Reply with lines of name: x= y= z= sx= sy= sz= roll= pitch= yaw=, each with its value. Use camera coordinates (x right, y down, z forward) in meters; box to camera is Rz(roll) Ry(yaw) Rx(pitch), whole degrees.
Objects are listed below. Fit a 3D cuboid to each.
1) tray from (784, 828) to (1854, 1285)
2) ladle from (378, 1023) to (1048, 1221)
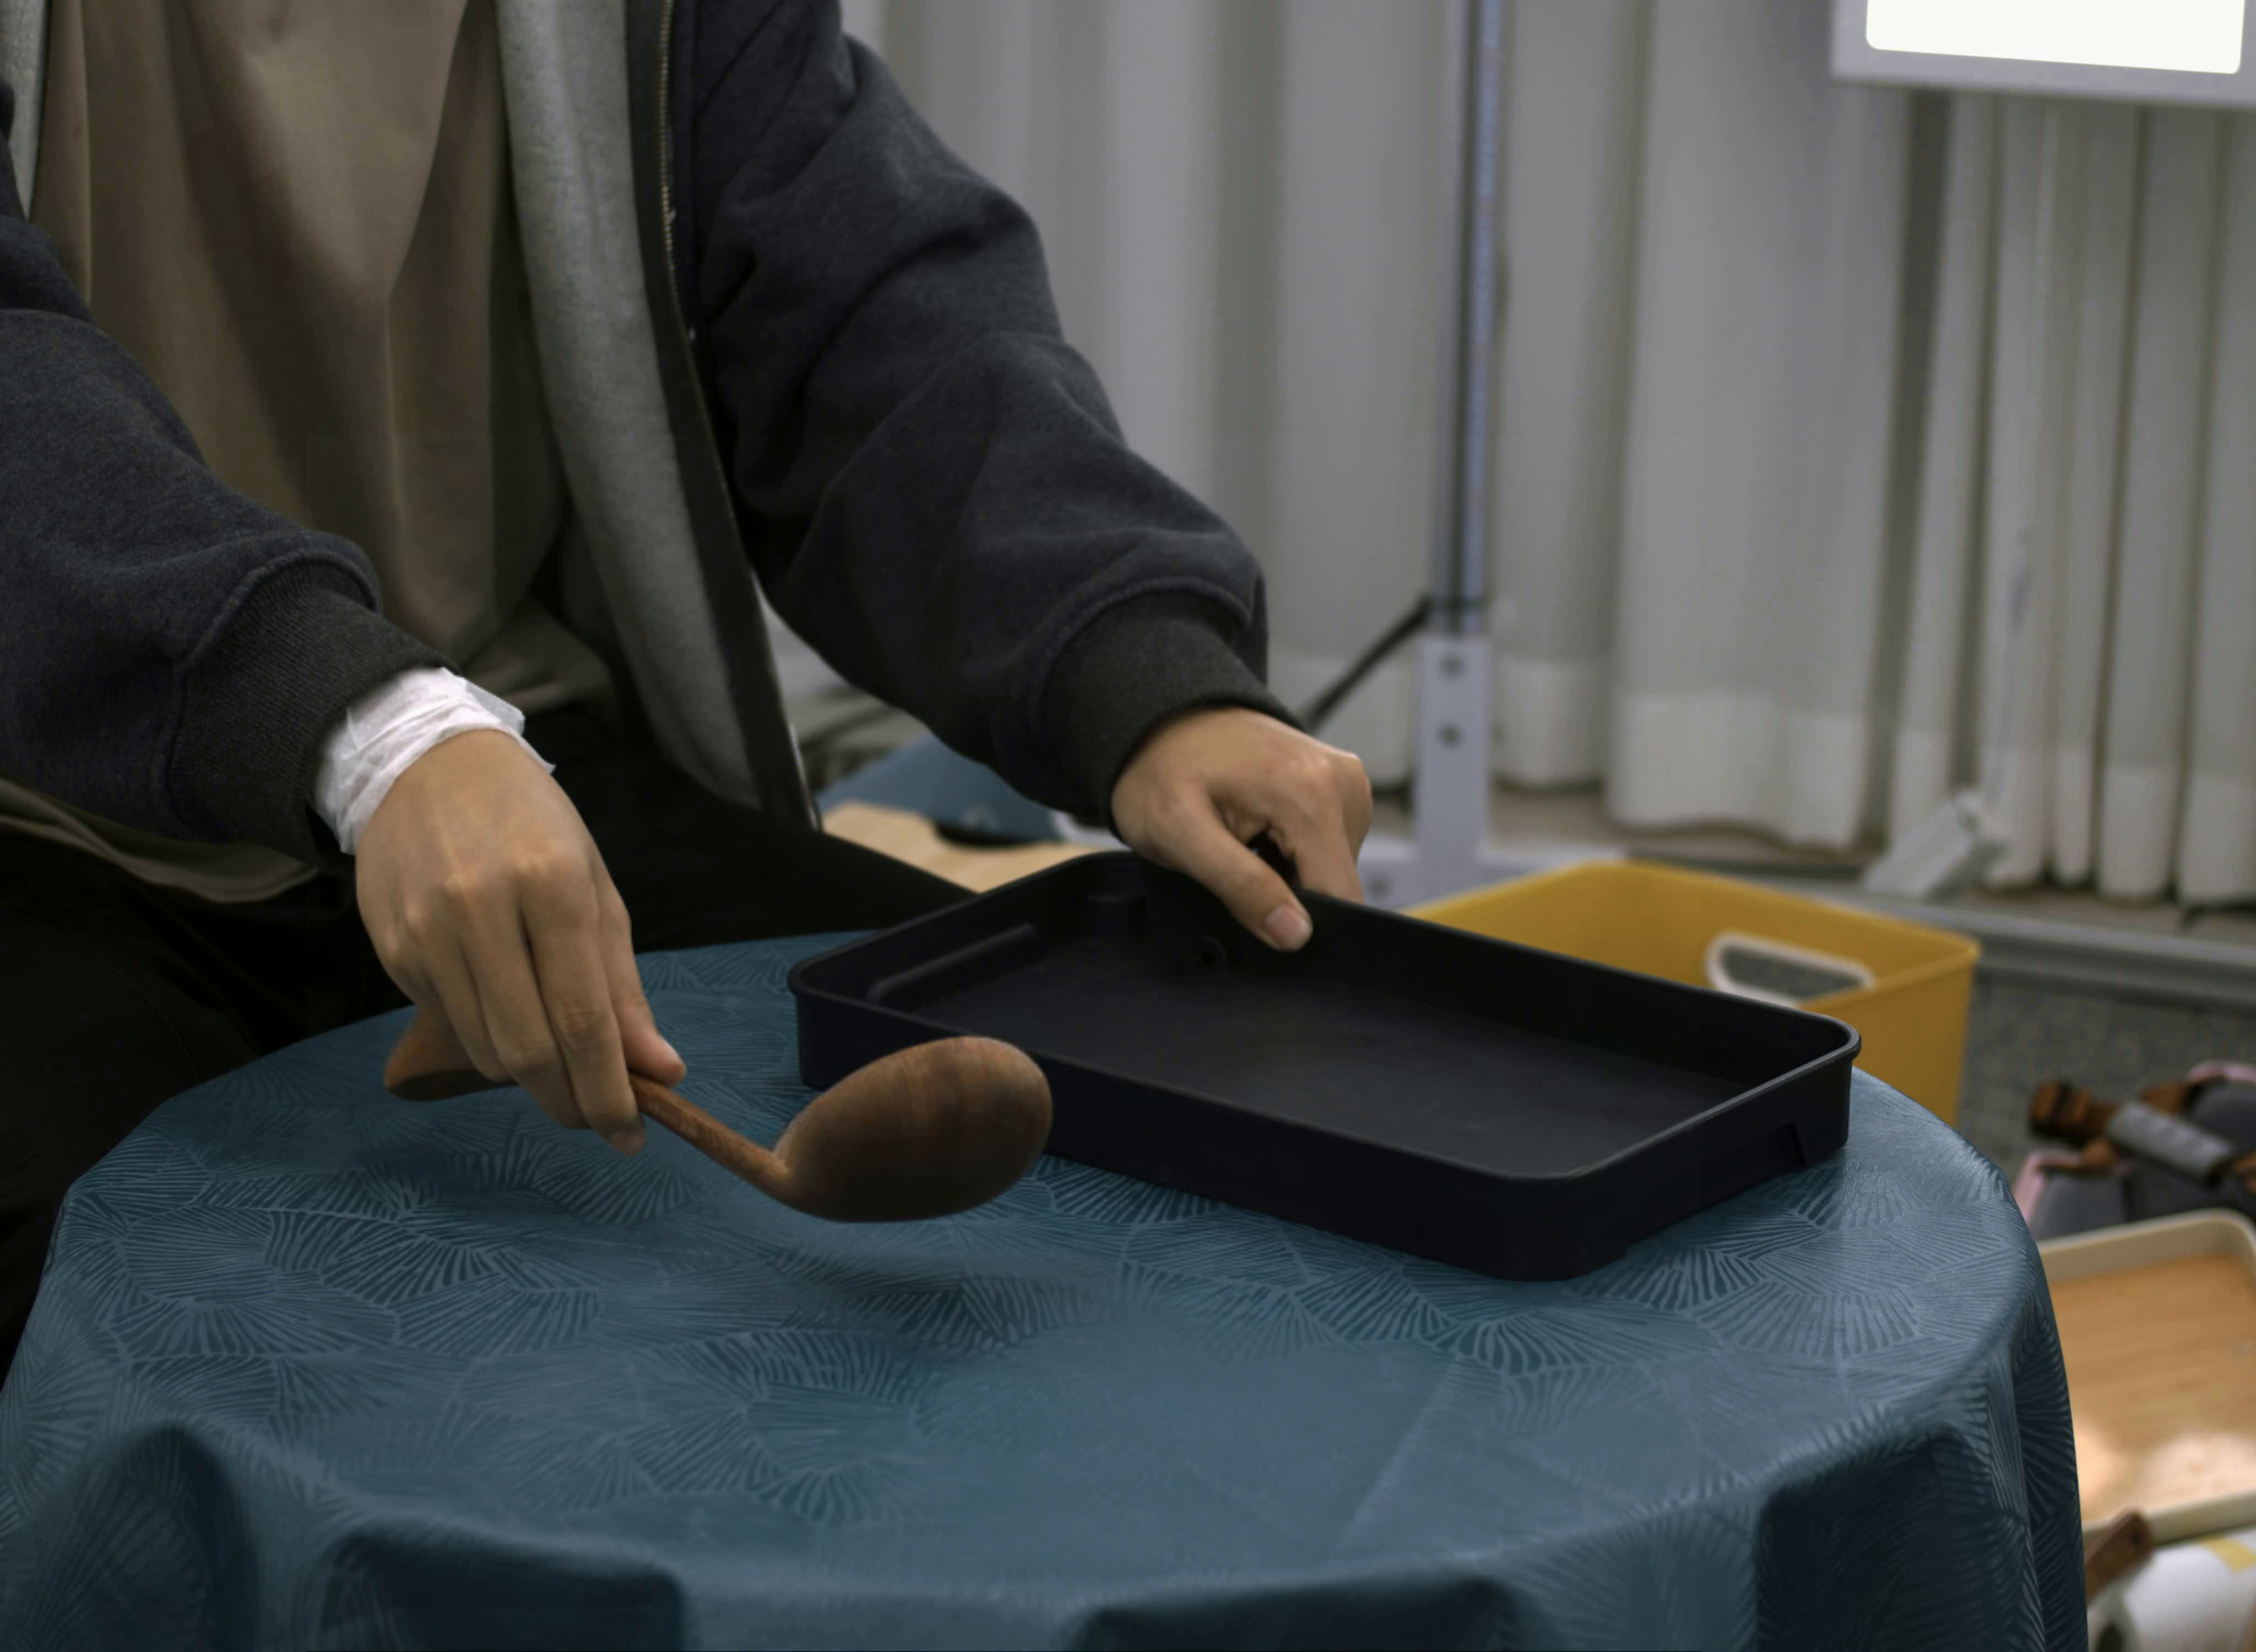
tray: x=0.058 y=0.069 z=1.692 sx=0.314 sy=0.037 sz=0.185 roll=15 pitch=23 yaw=36
ladle: x=-0.130 y=0.073 z=1.579 sx=0.257 sy=0.065 sz=0.077 roll=11 pitch=-11 yaw=42
